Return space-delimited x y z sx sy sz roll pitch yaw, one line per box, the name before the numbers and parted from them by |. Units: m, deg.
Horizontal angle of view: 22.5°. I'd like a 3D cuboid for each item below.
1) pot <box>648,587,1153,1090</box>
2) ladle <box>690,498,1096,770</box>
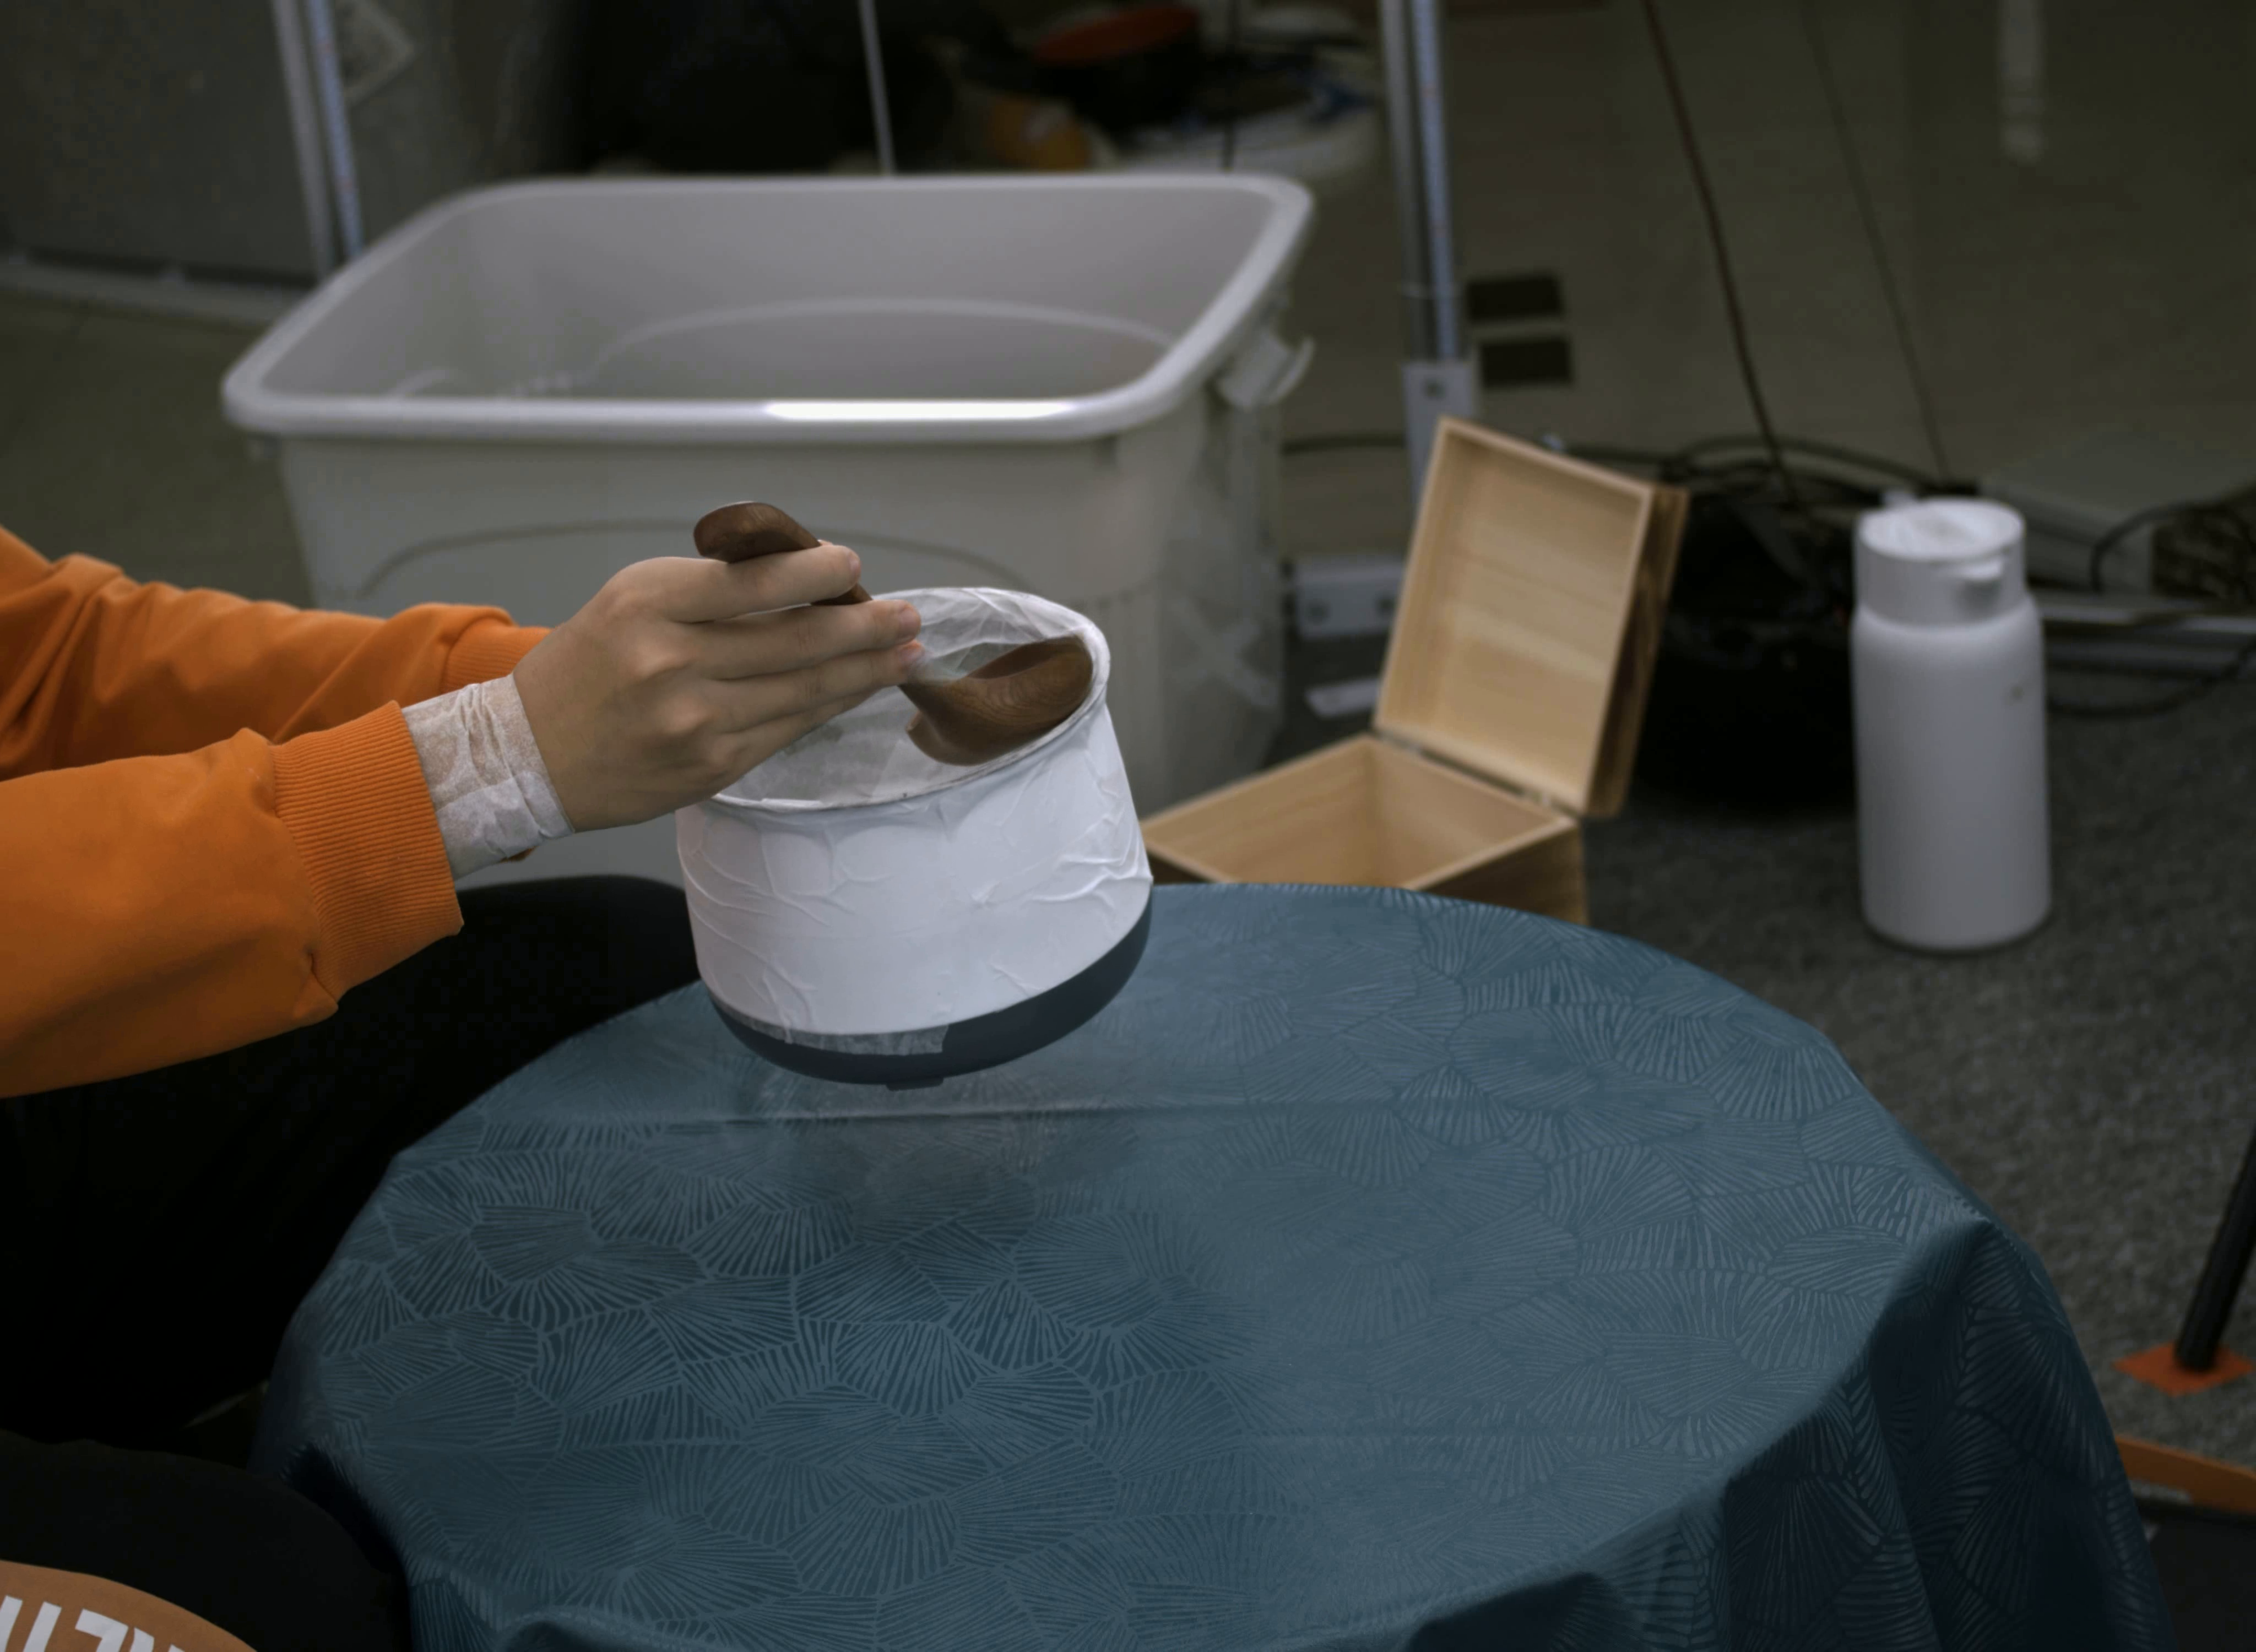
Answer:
pot | -0.101 -0.002 2.168 0.177 0.139 0.231 -29 33 -31
ladle | -0.090 -0.080 2.006 0.077 0.263 0.064 -30 59 15
